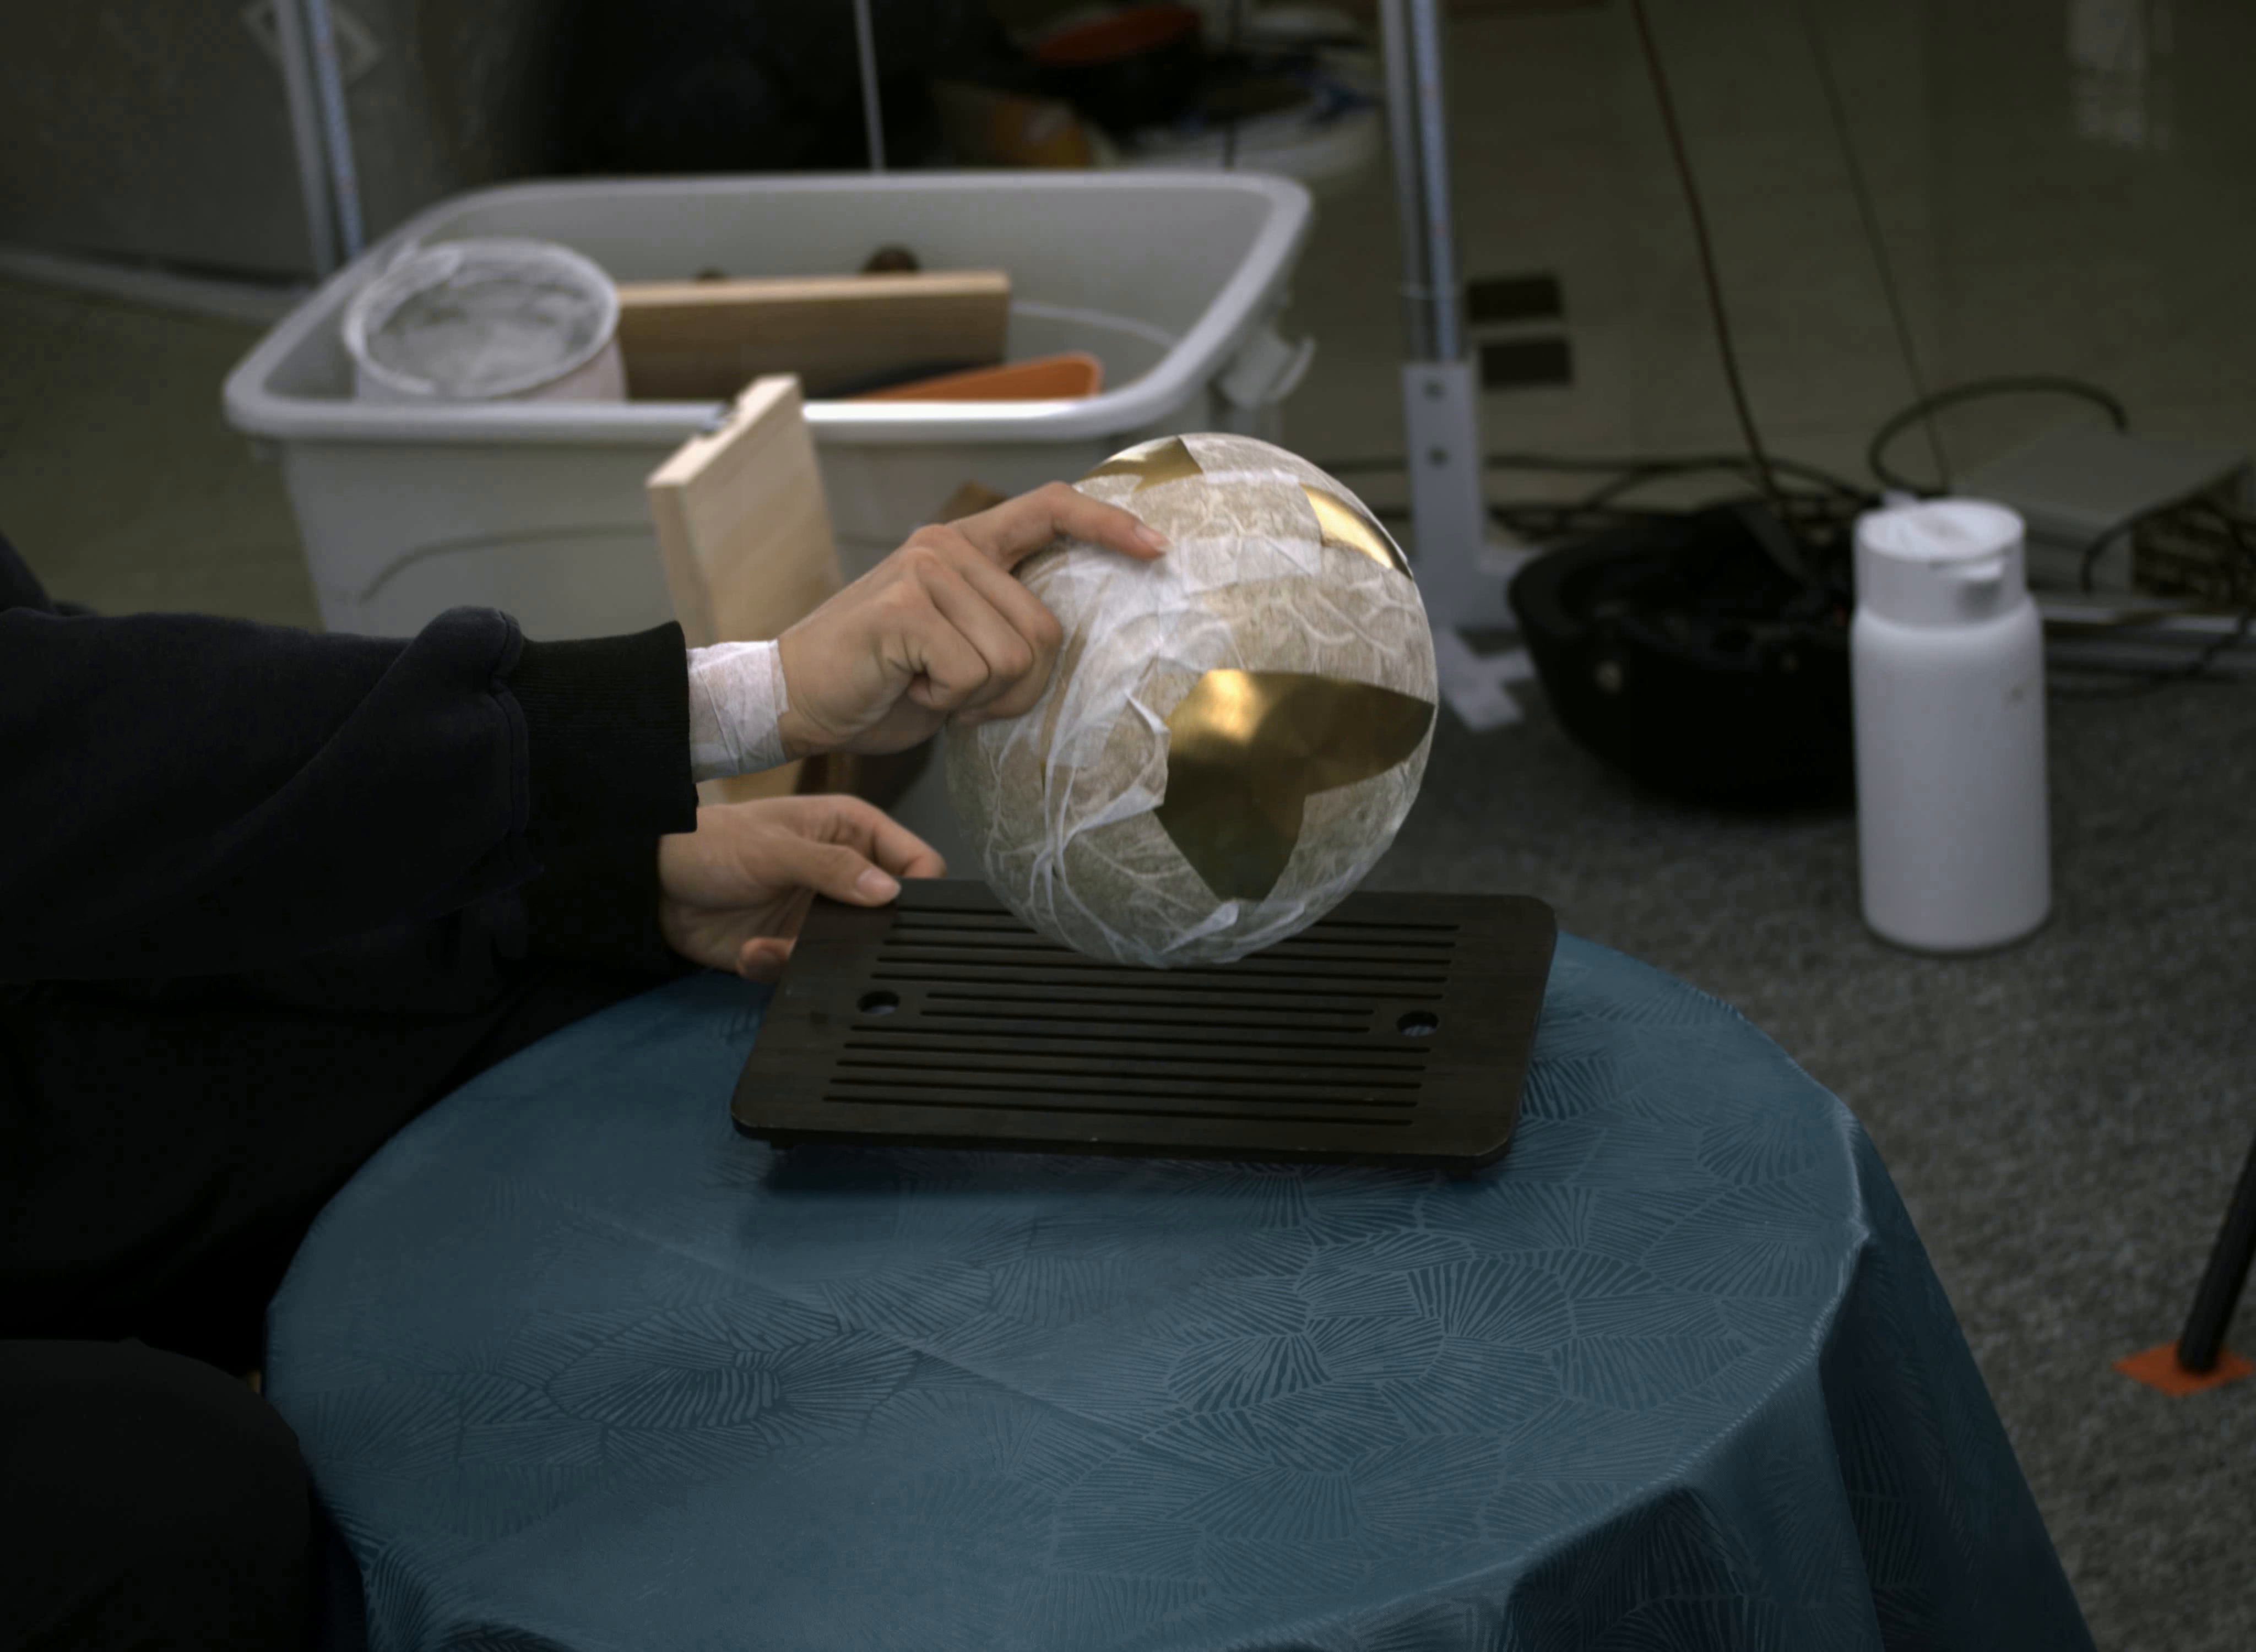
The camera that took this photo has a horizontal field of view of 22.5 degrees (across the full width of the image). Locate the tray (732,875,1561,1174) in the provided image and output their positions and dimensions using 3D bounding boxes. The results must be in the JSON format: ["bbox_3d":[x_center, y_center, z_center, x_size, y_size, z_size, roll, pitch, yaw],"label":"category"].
[{"bbox_3d":[0.010,0.077,2.220,0.305,0.019,0.167,2,35,12],"label":"tray"}]

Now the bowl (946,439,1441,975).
[{"bbox_3d":[0.039,-0.030,2.073,0.213,0.218,0.093,-21,30,-29],"label":"bowl"}]
